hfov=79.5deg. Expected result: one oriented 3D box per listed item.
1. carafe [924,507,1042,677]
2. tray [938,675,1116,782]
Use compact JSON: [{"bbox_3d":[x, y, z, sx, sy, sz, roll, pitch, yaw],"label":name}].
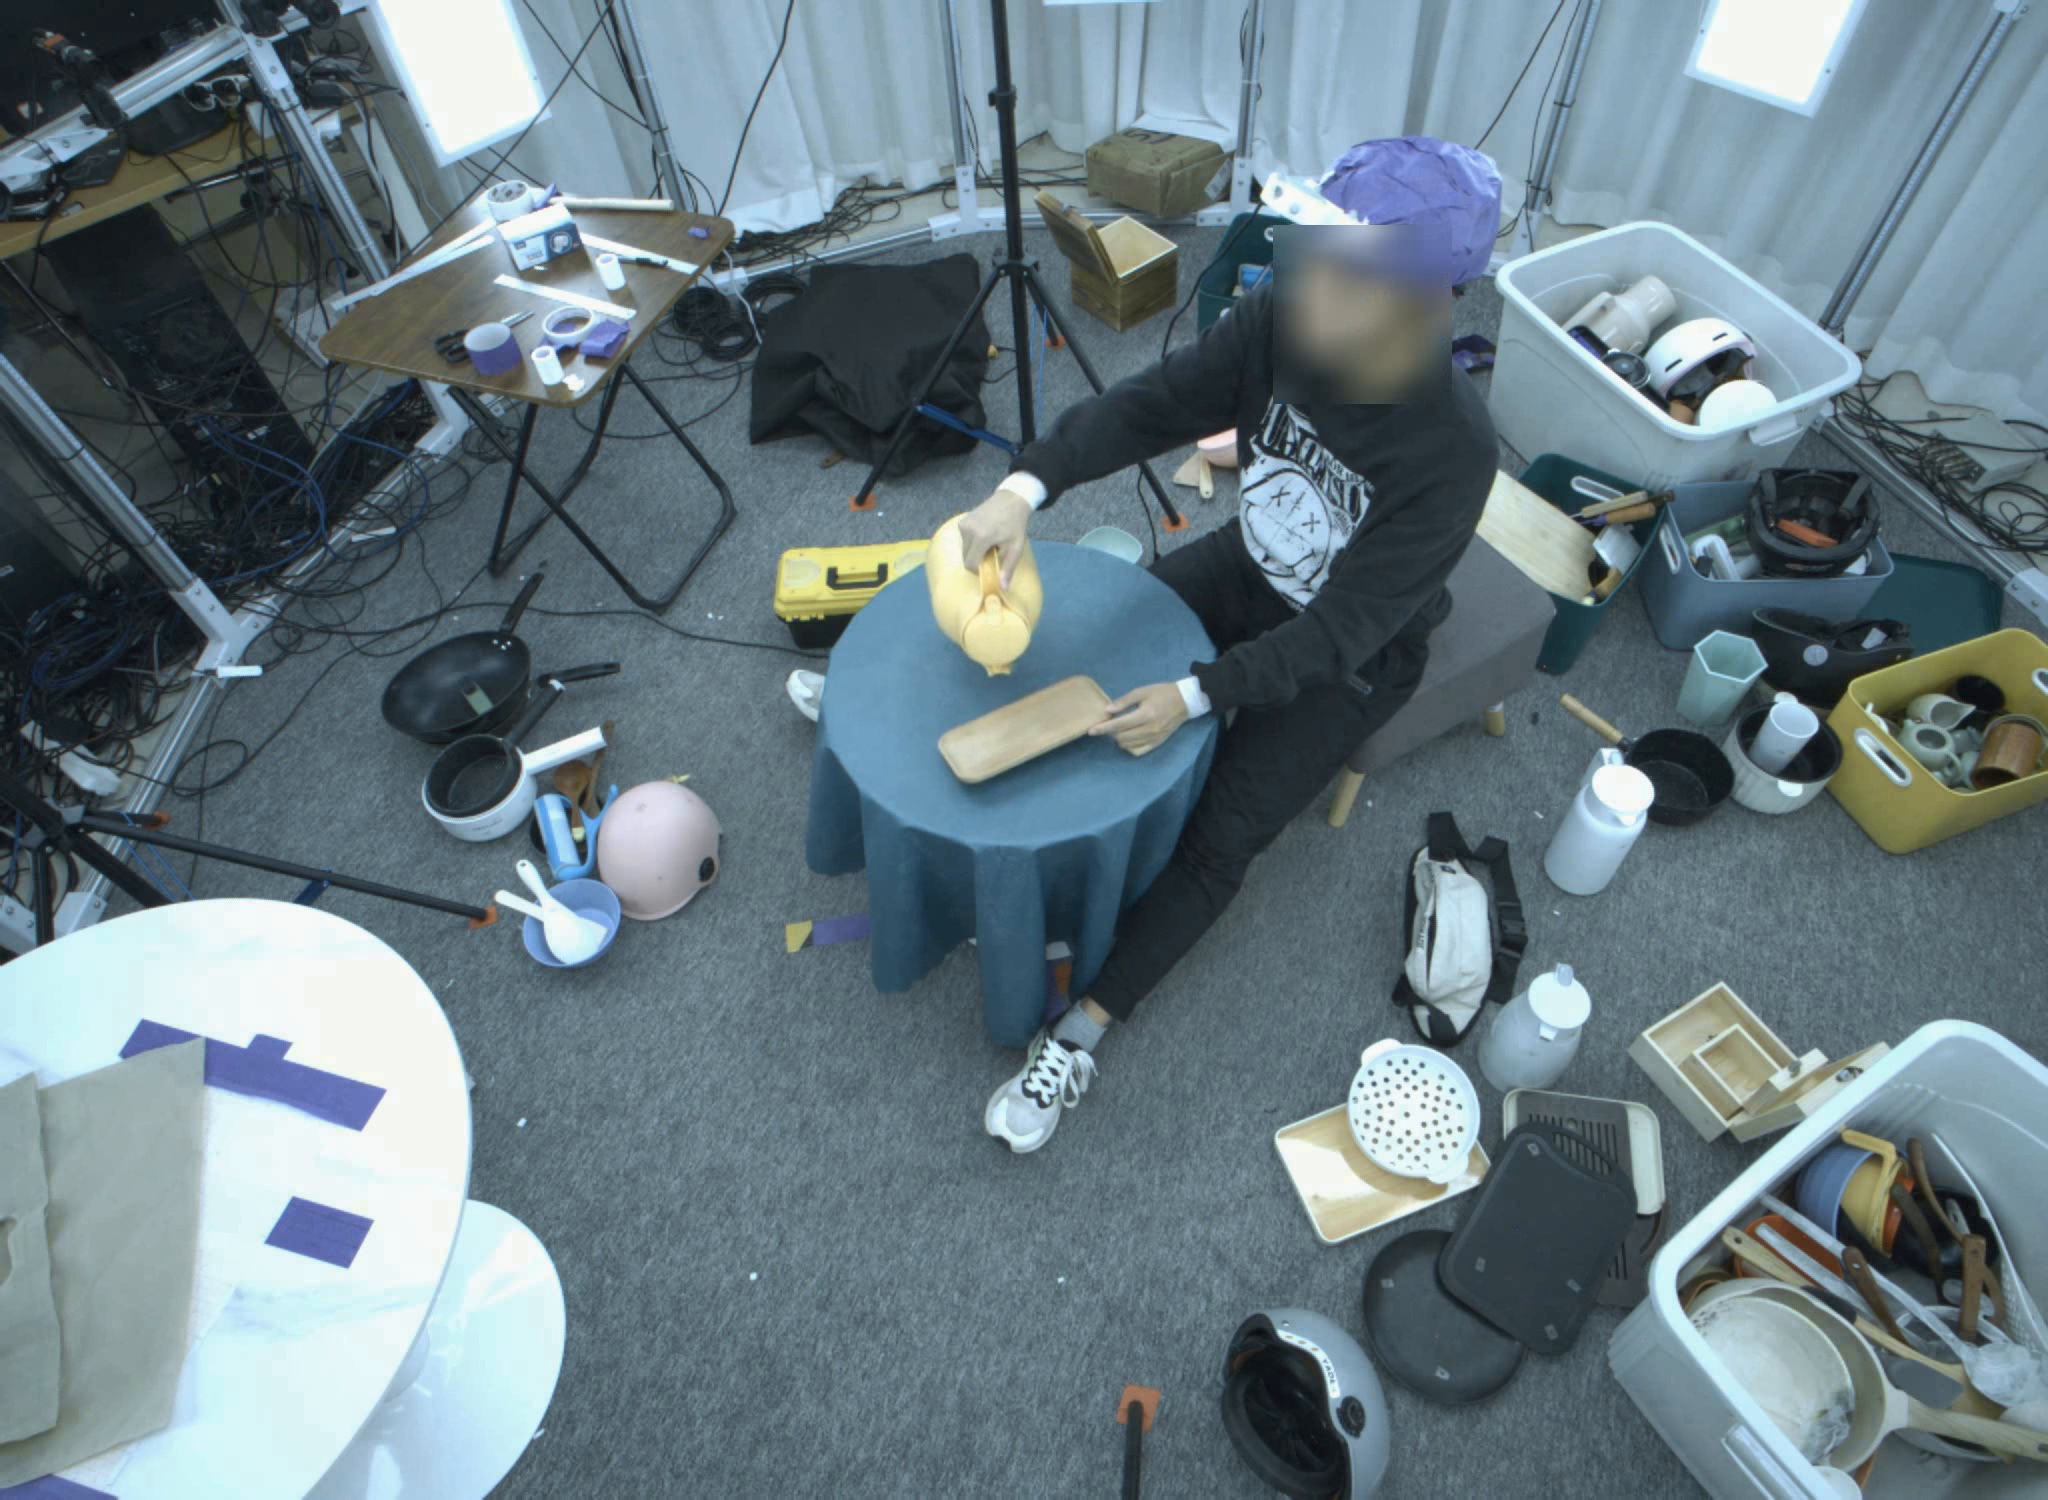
[{"bbox_3d":[-0.055,-0.242,1.749,0.164,0.204,0.256,-6,41,-8],"label":"carafe"},{"bbox_3d":[0.004,-0.032,1.770,0.252,0.023,0.128,-23,41,-12],"label":"tray"}]
